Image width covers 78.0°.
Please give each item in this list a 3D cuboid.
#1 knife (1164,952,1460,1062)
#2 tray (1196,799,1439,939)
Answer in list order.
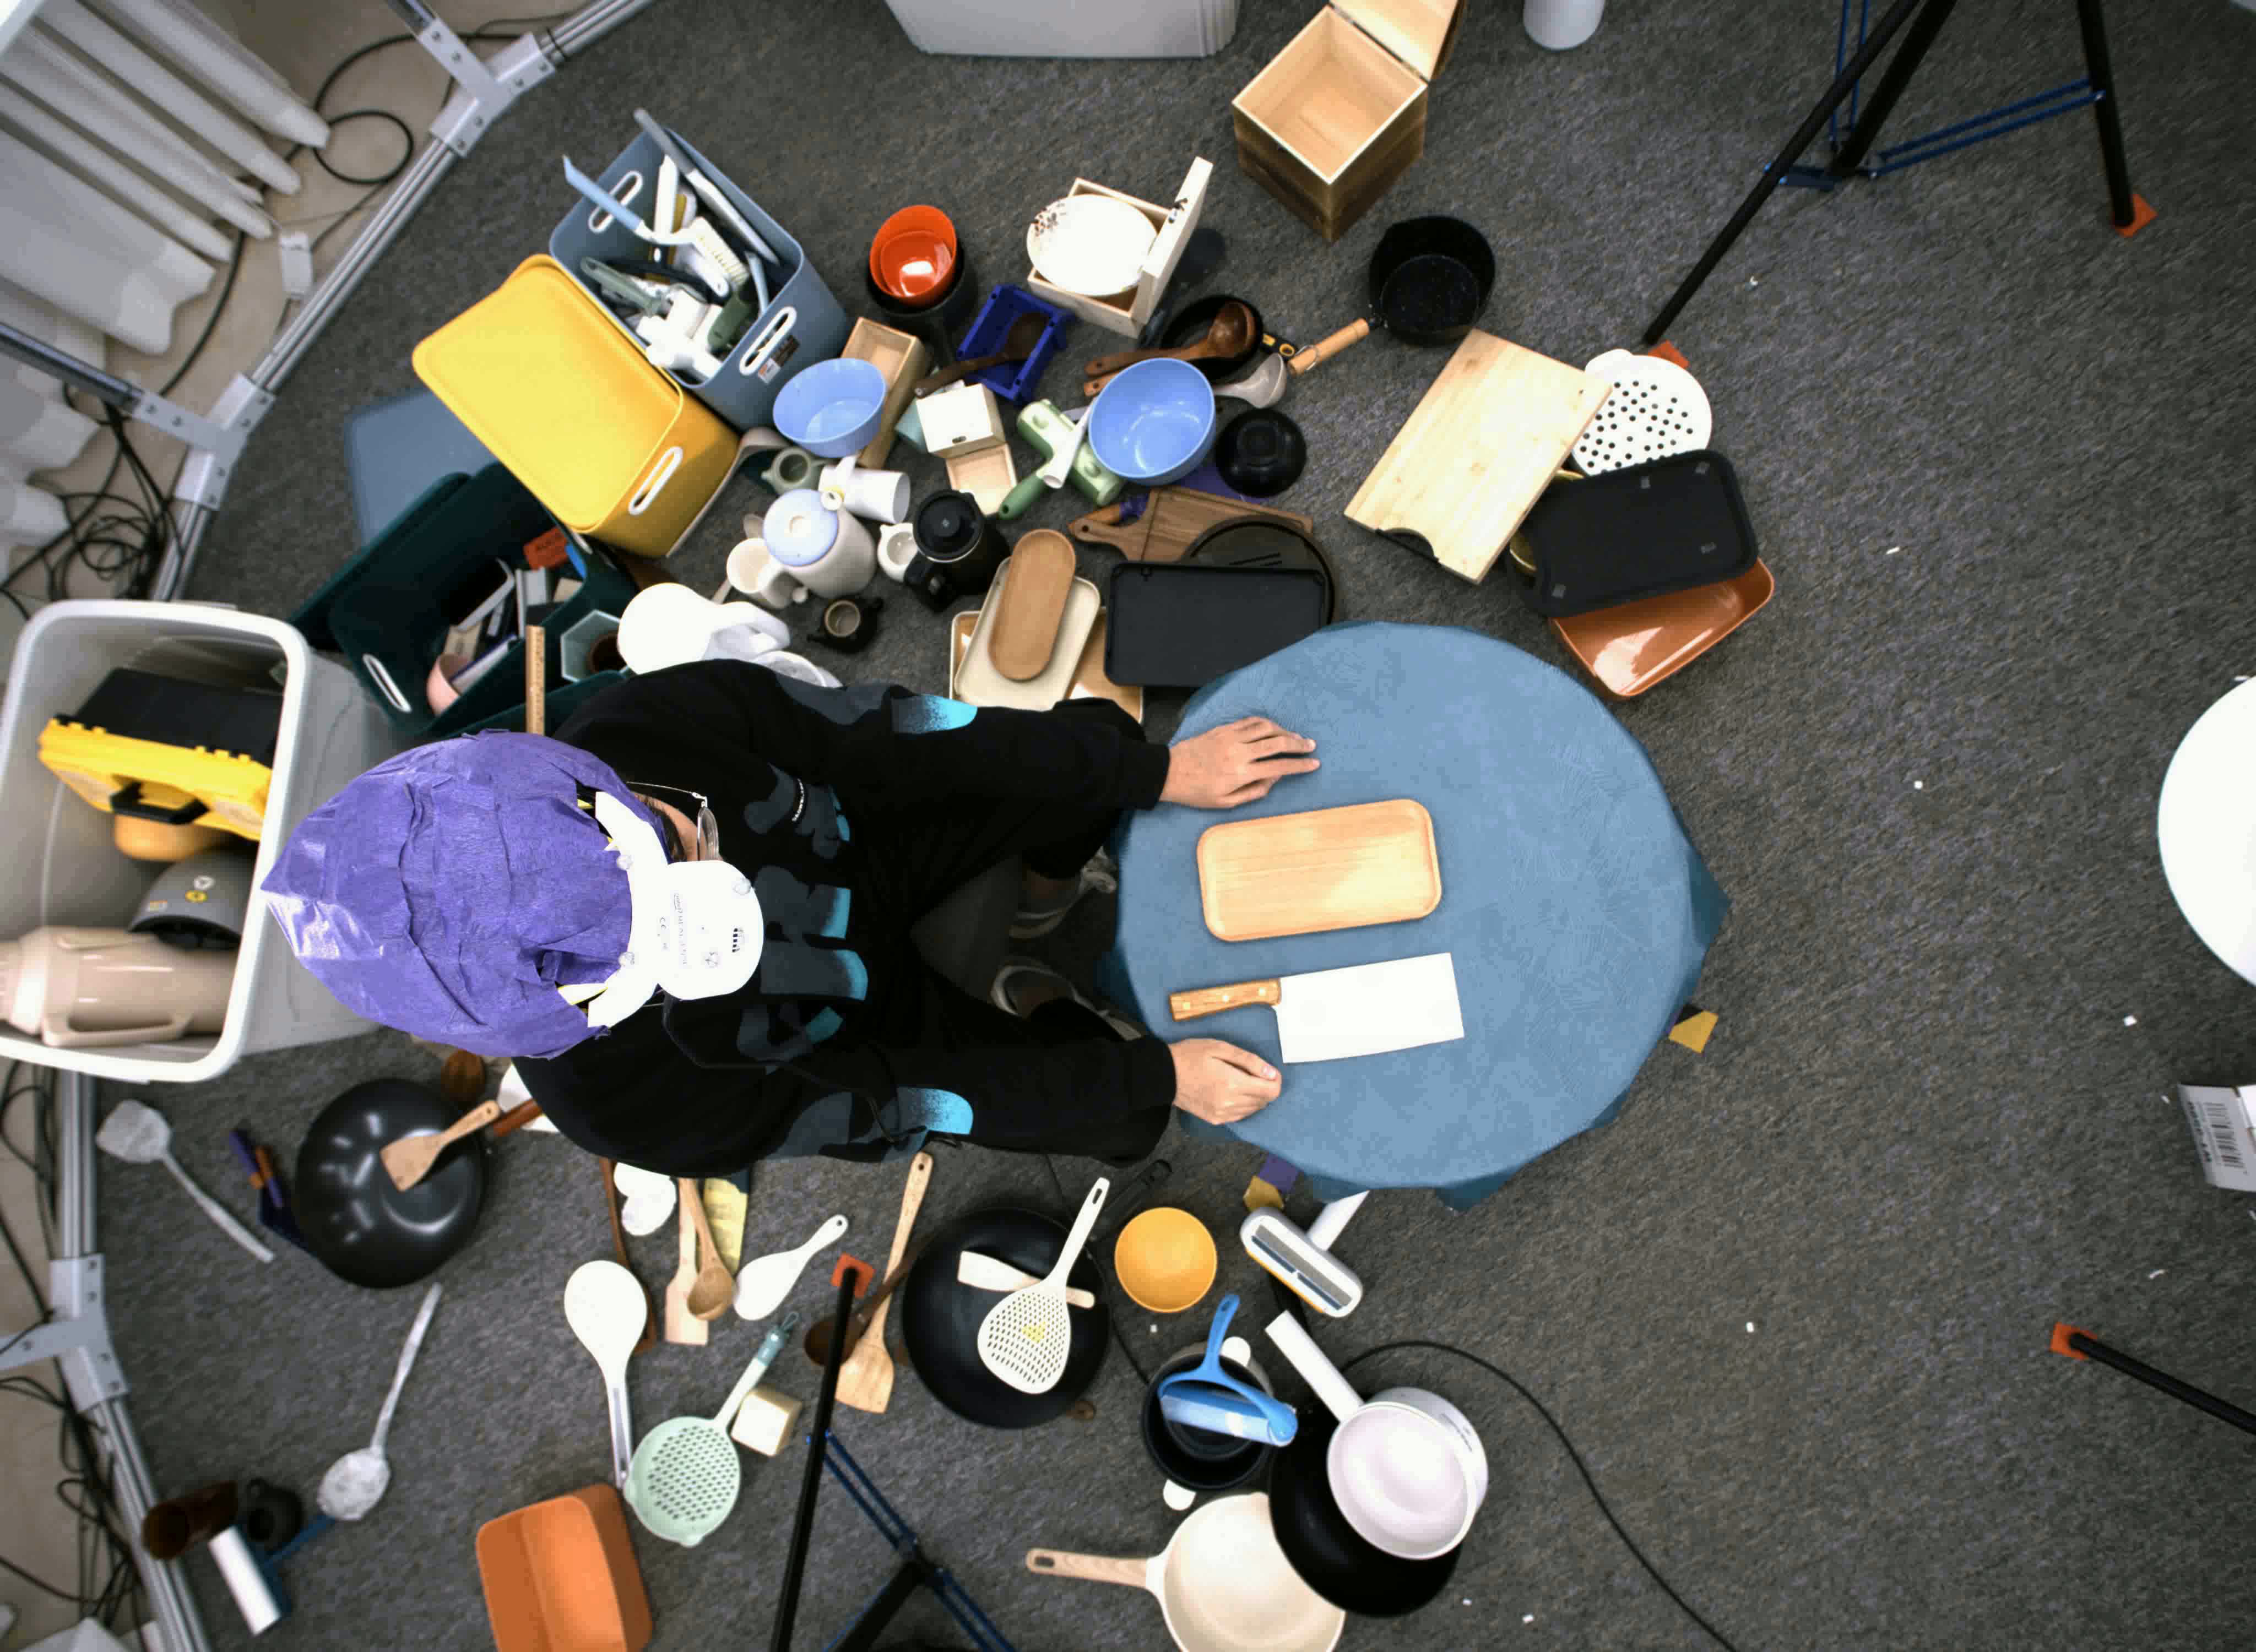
[{"bbox_3d":[0.194,0.197,1.460,0.307,0.021,0.092,-9,87,8],"label":"knife"},{"bbox_3d":[0.200,0.046,1.467,0.252,0.023,0.129,-6,84,11],"label":"tray"}]
